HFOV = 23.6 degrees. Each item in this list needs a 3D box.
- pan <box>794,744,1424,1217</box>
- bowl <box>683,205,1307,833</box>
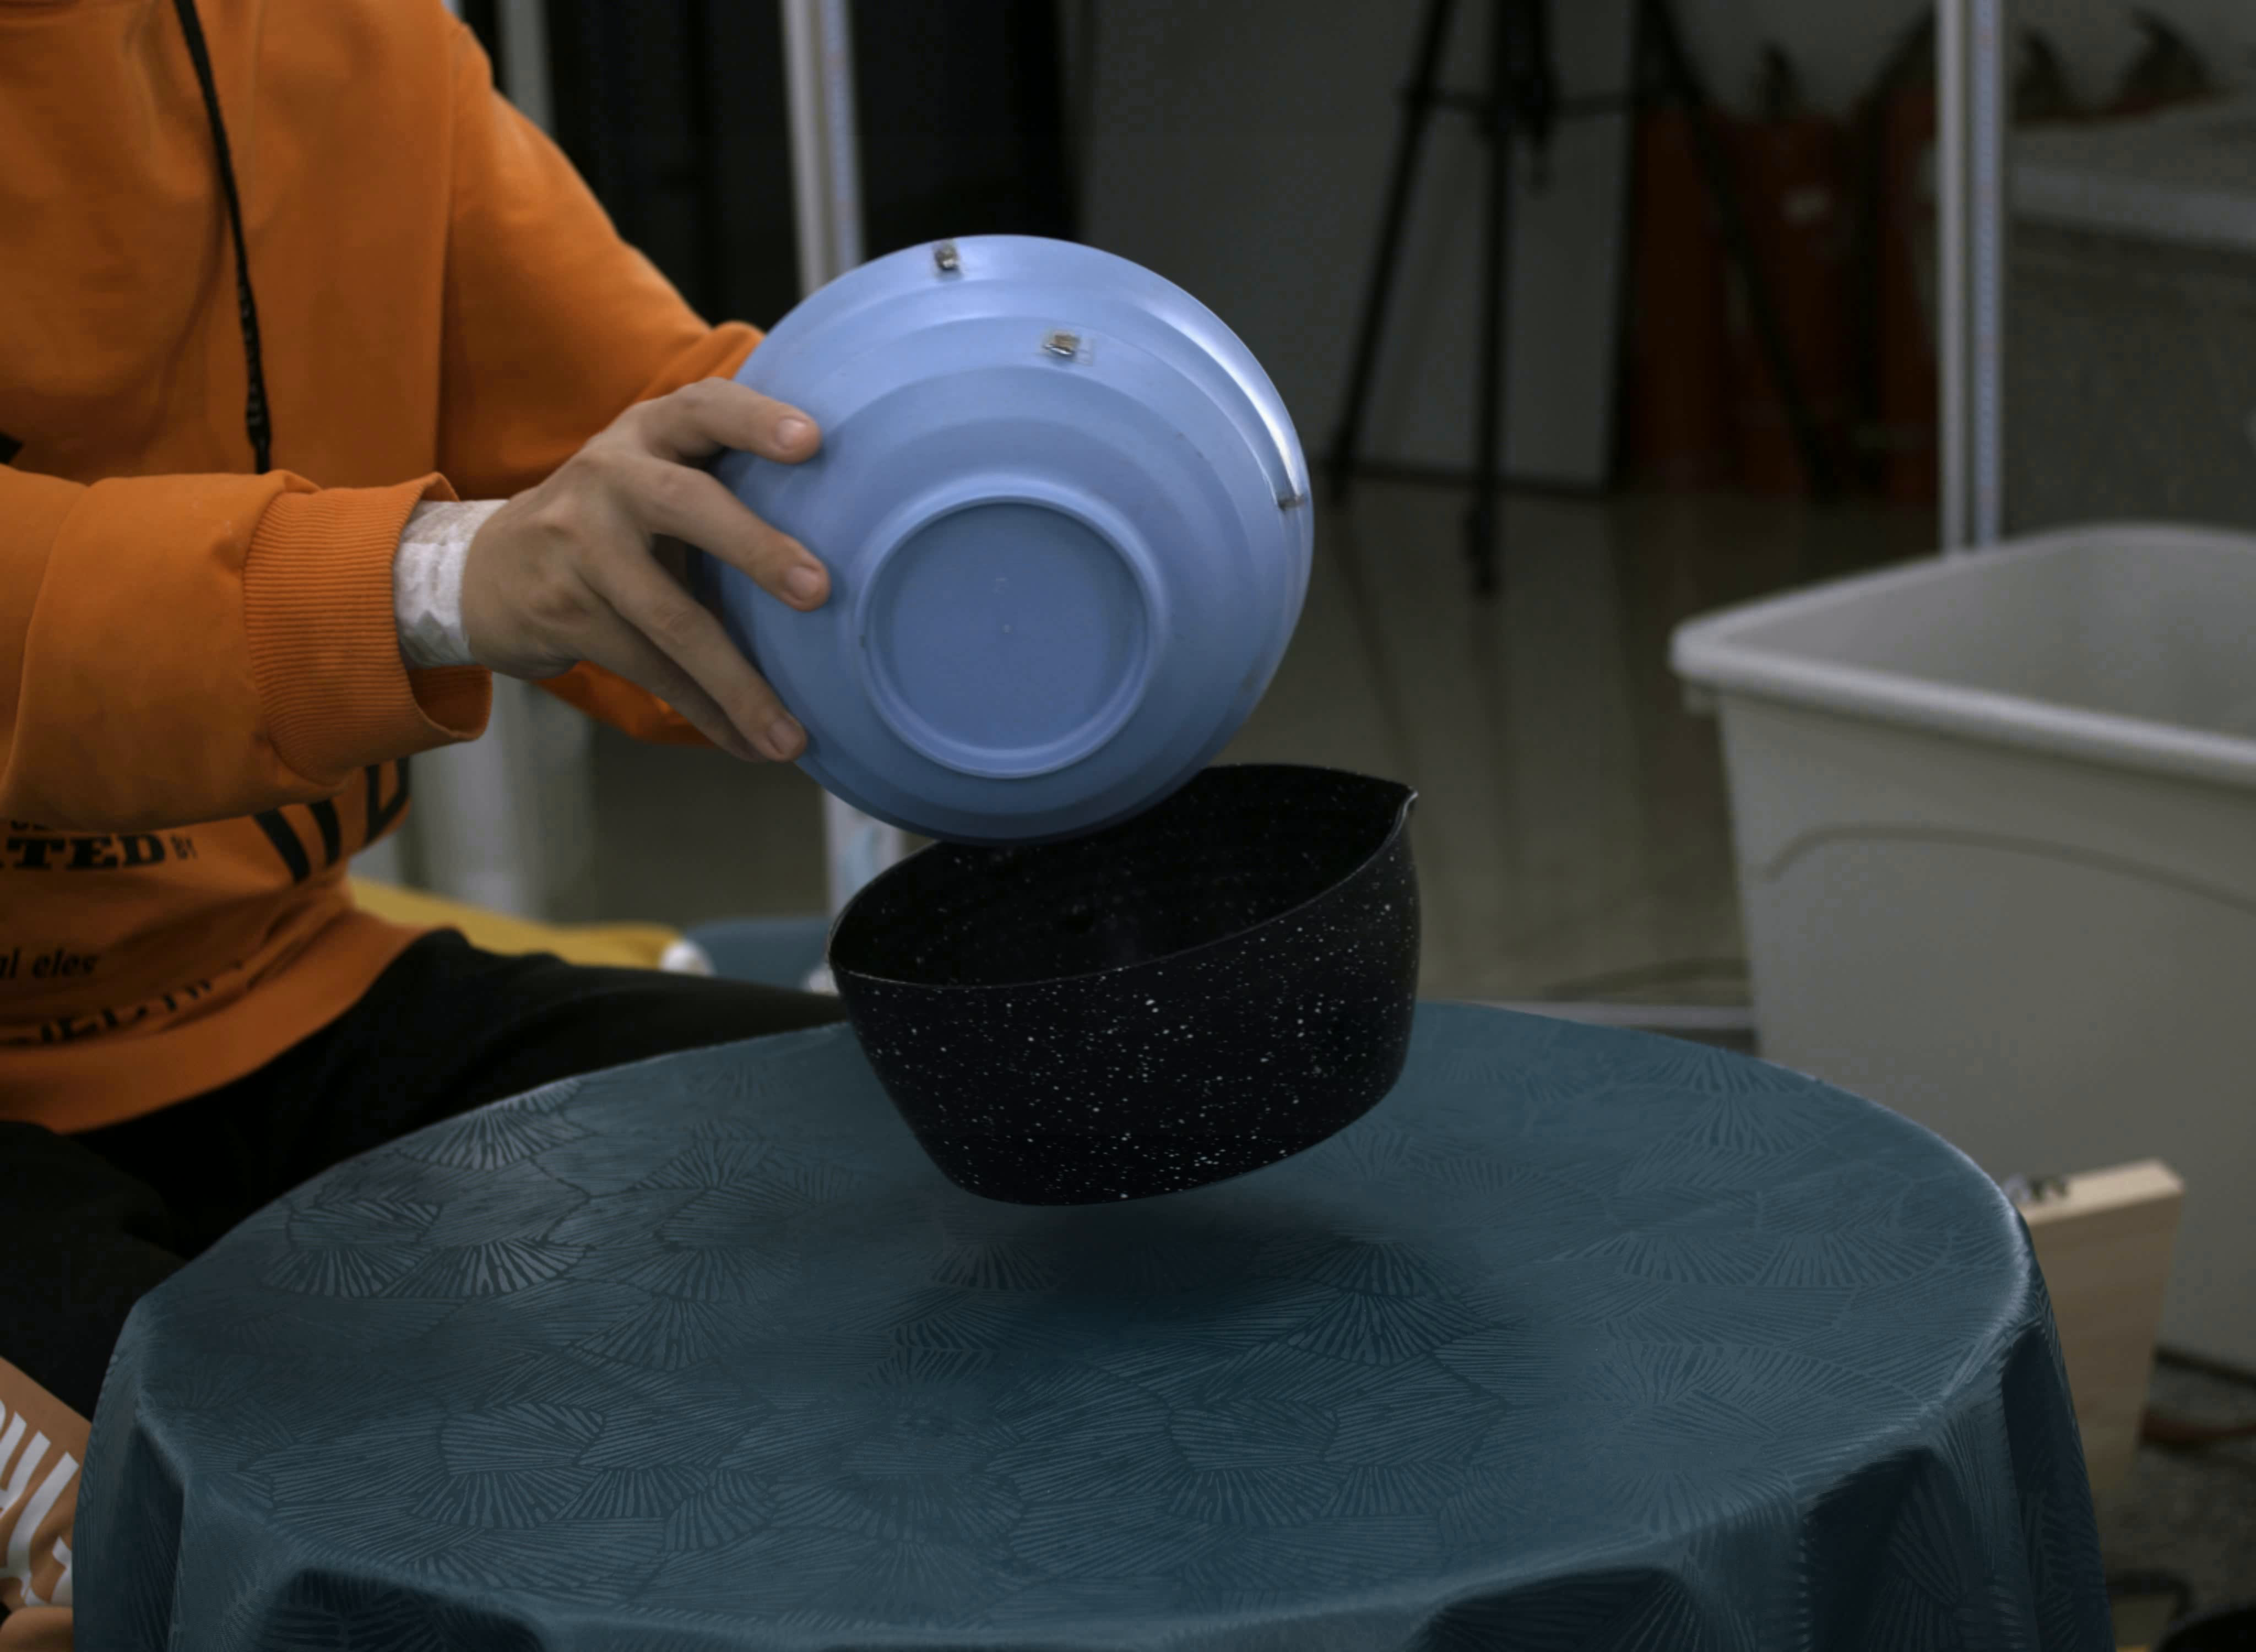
[{"bbox_3d":[-0.018,0.022,1.758,0.204,0.109,0.345,-19,19,-10],"label":"pan"},{"bbox_3d":[-0.040,-0.079,1.636,0.194,0.198,0.096,-3,23,1],"label":"bowl"}]
